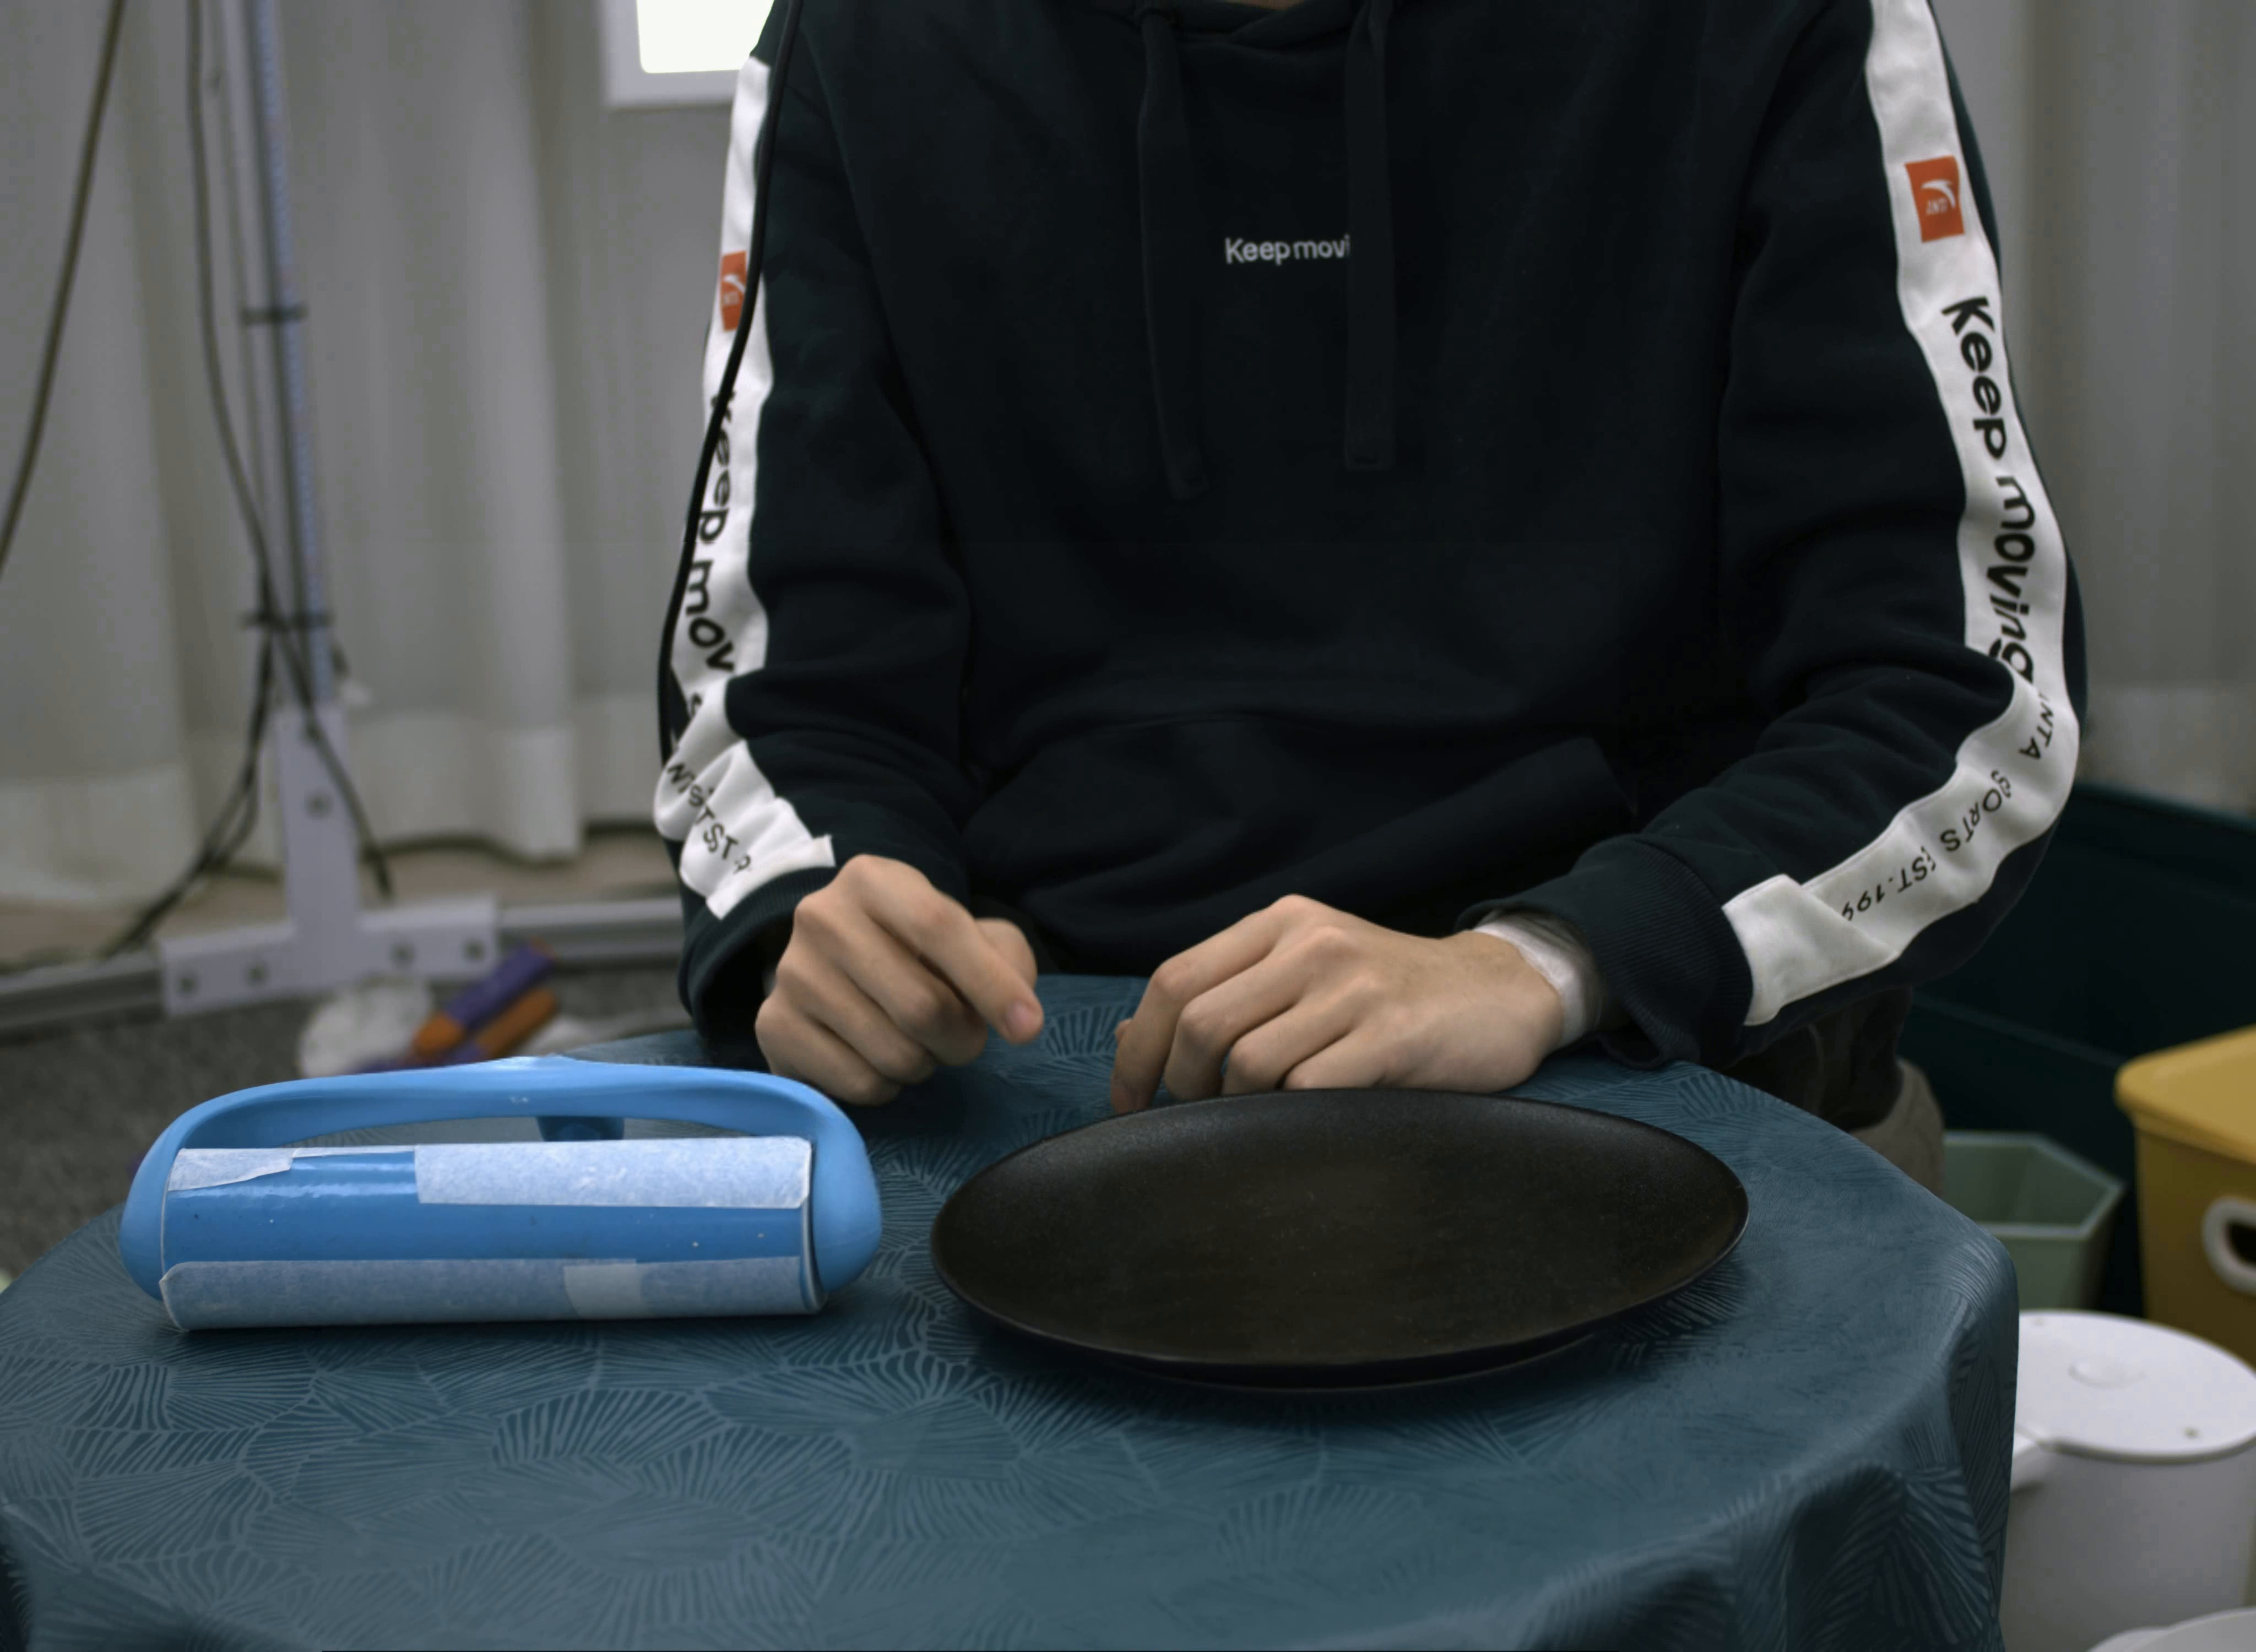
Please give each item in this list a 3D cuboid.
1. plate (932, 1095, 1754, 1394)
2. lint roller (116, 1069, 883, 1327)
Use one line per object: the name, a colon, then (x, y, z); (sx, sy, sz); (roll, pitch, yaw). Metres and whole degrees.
plate: (0.064, 0.125, 1.618); (0.243, 0.023, 0.246); (-3, 15, 0)
lint roller: (-0.186, 0.105, 1.680); (0.228, 0.067, 0.181); (-3, 14, 2)
